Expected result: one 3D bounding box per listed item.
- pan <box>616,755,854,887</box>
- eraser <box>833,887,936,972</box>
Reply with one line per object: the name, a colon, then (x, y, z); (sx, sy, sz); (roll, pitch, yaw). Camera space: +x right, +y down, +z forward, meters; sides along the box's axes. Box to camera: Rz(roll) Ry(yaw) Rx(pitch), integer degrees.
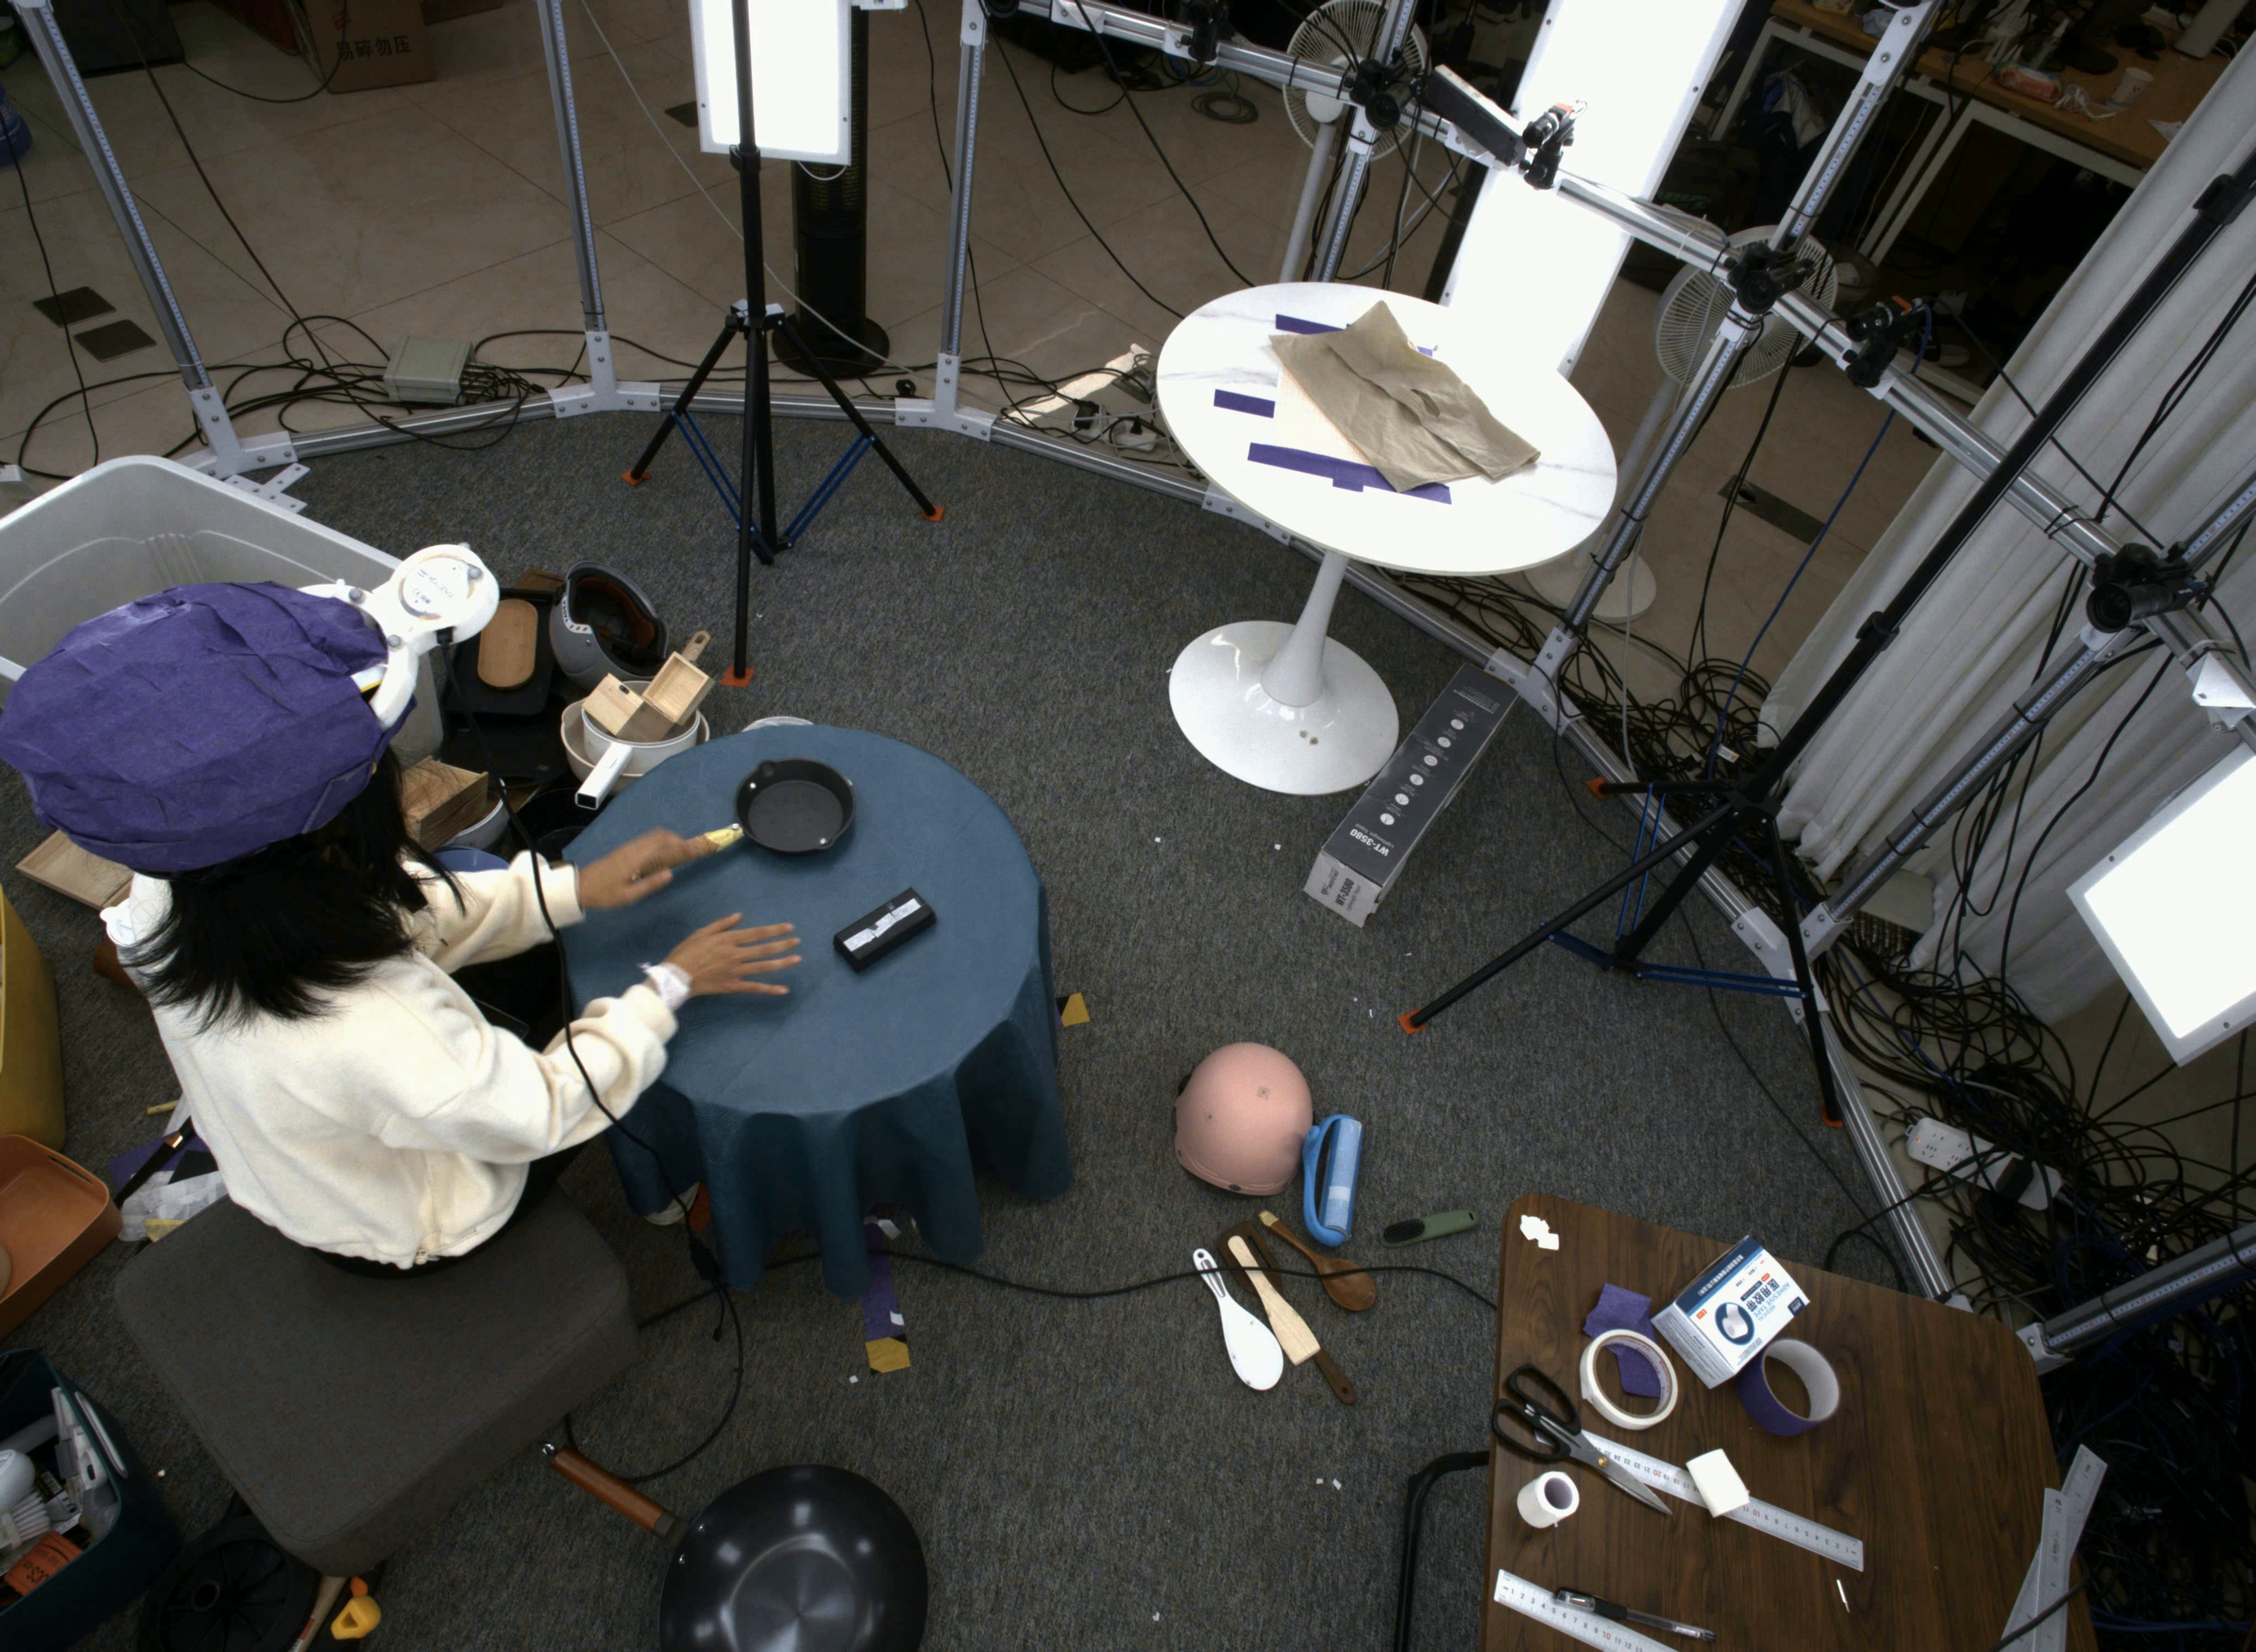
pan: (-0.506, 0.006, 1.660); (0.326, 0.050, 0.165); (-26, 65, -30)
eraser: (-0.306, 0.127, 1.638); (0.126, 0.031, 0.052); (-34, 67, -31)
